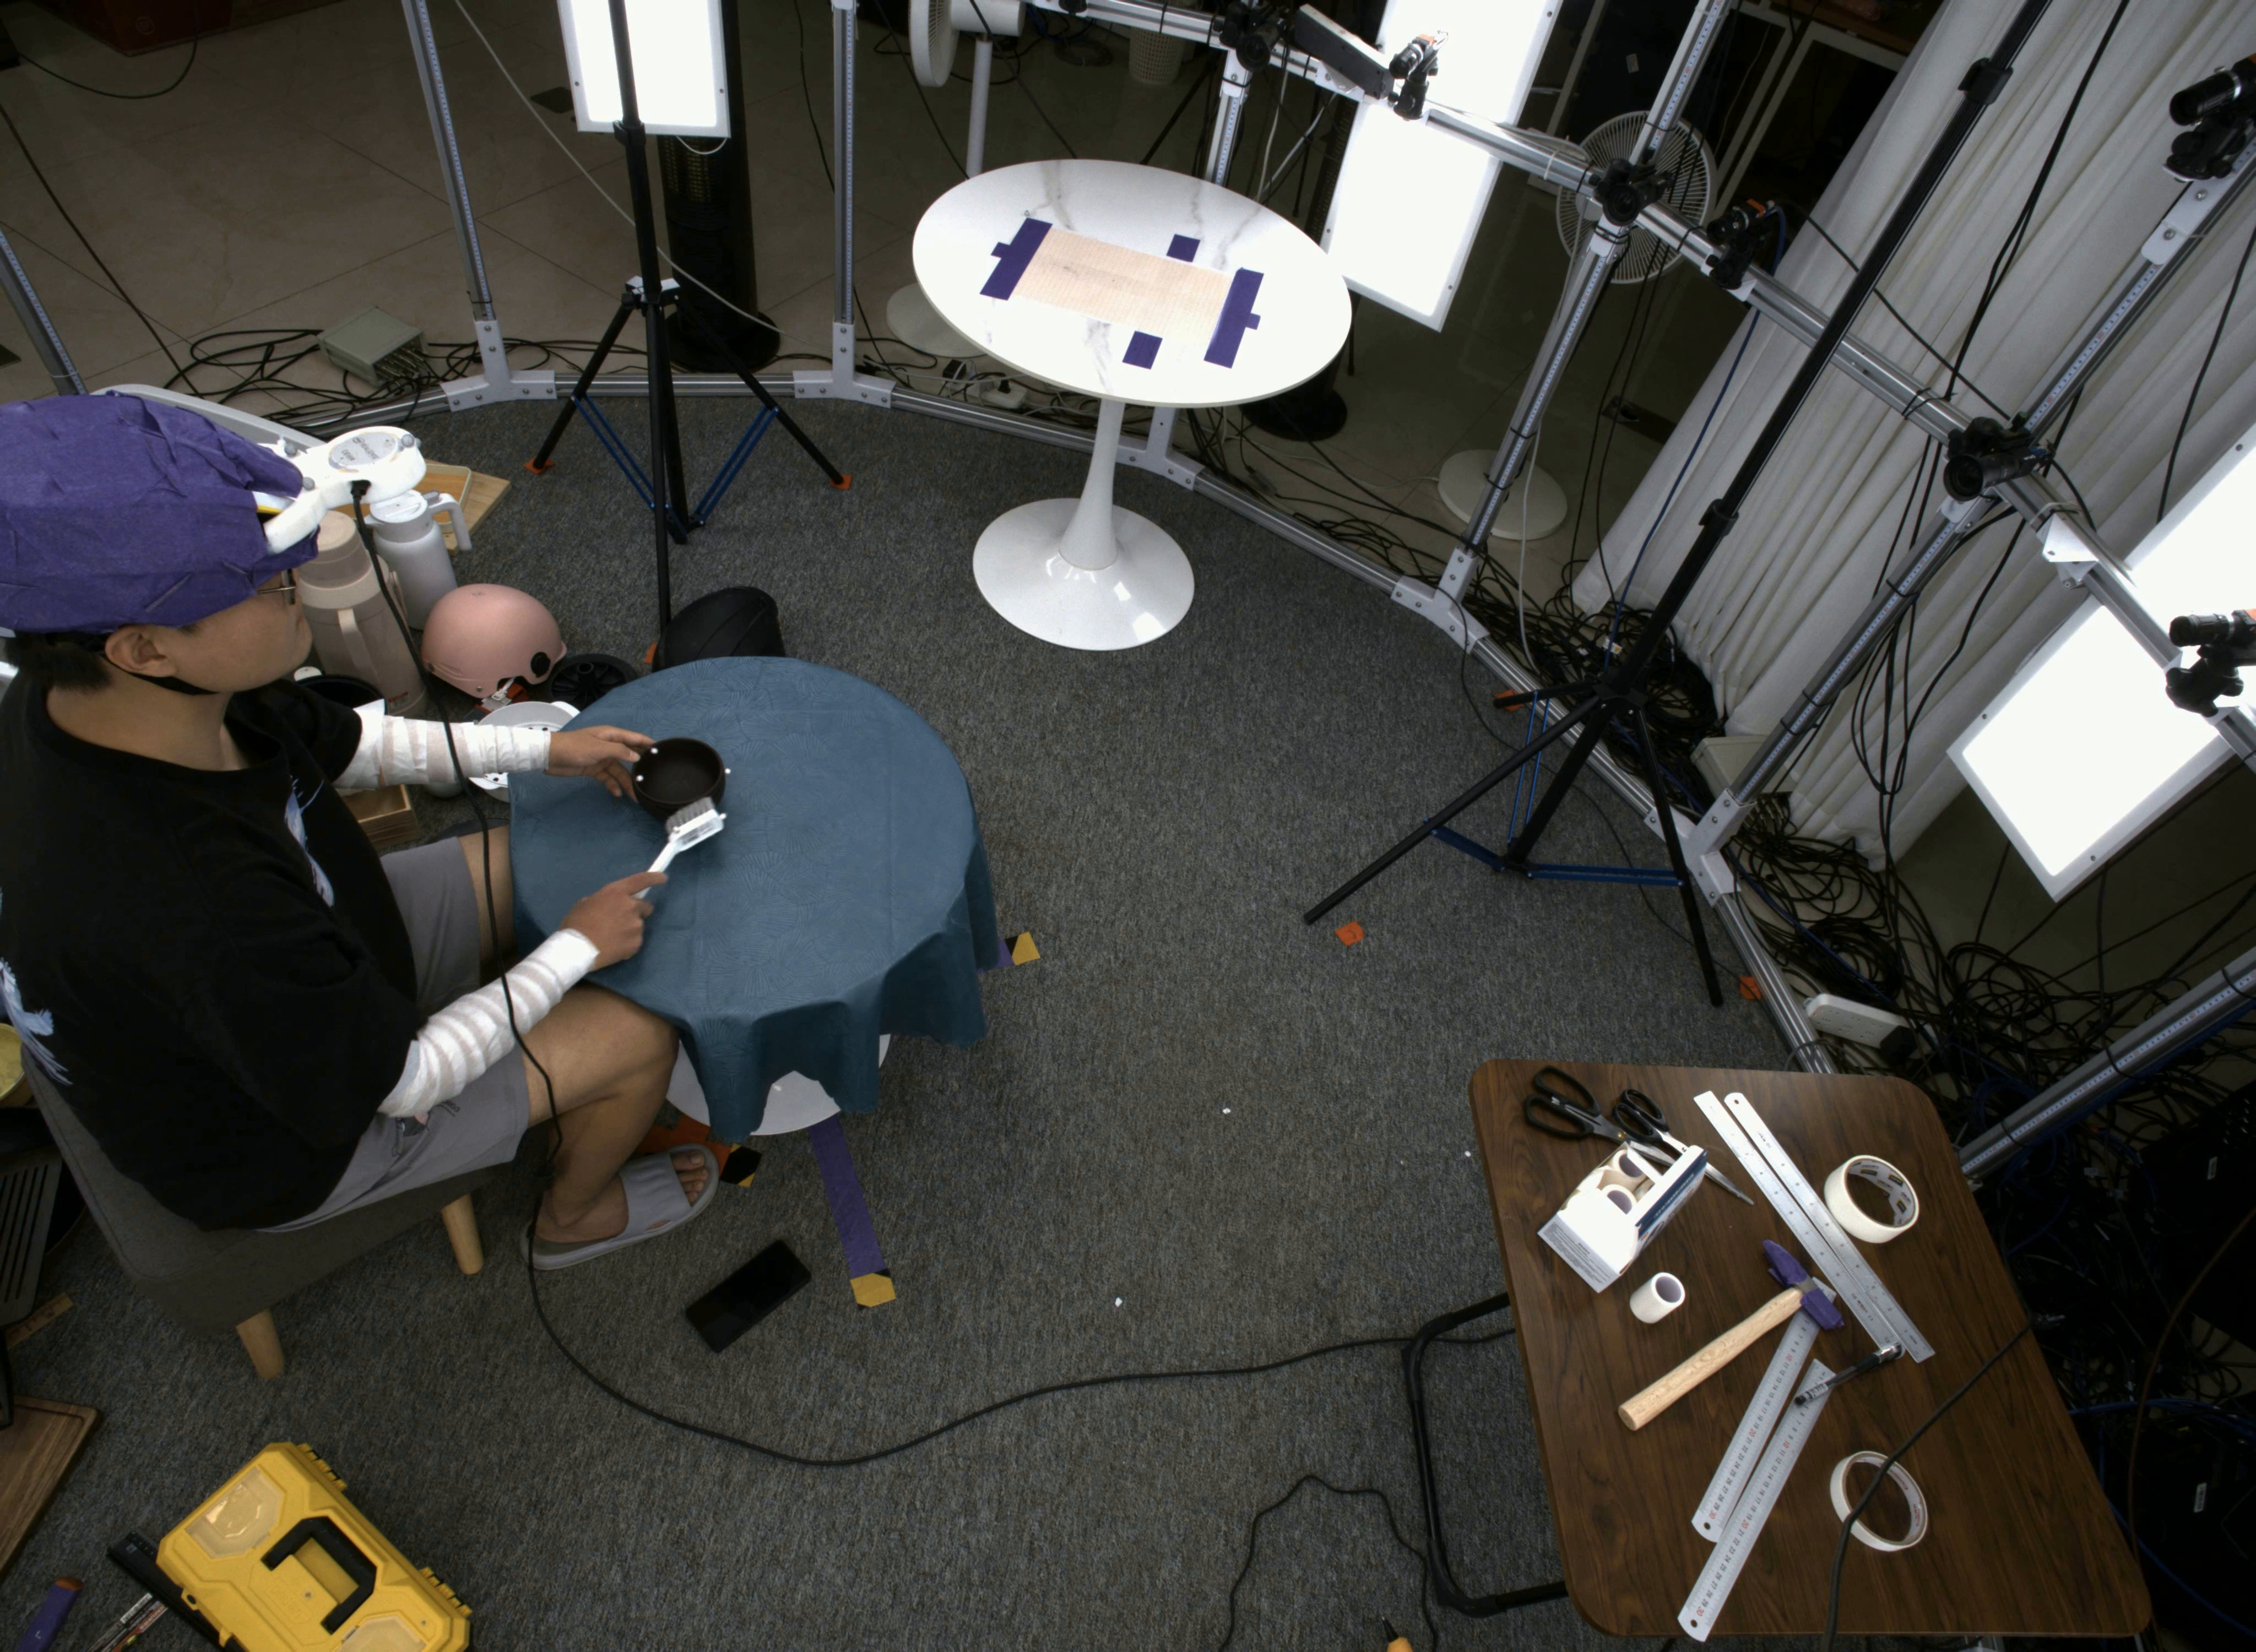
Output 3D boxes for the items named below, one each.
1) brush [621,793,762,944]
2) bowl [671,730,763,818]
[{"bbox_3d":[-0.557,0.048,1.622,0.048,0.035,0.243,31,64,25],"label":"brush"},{"bbox_3d":[-0.541,-0.061,1.704,0.117,0.071,0.116,6,54,-7],"label":"bowl"}]
